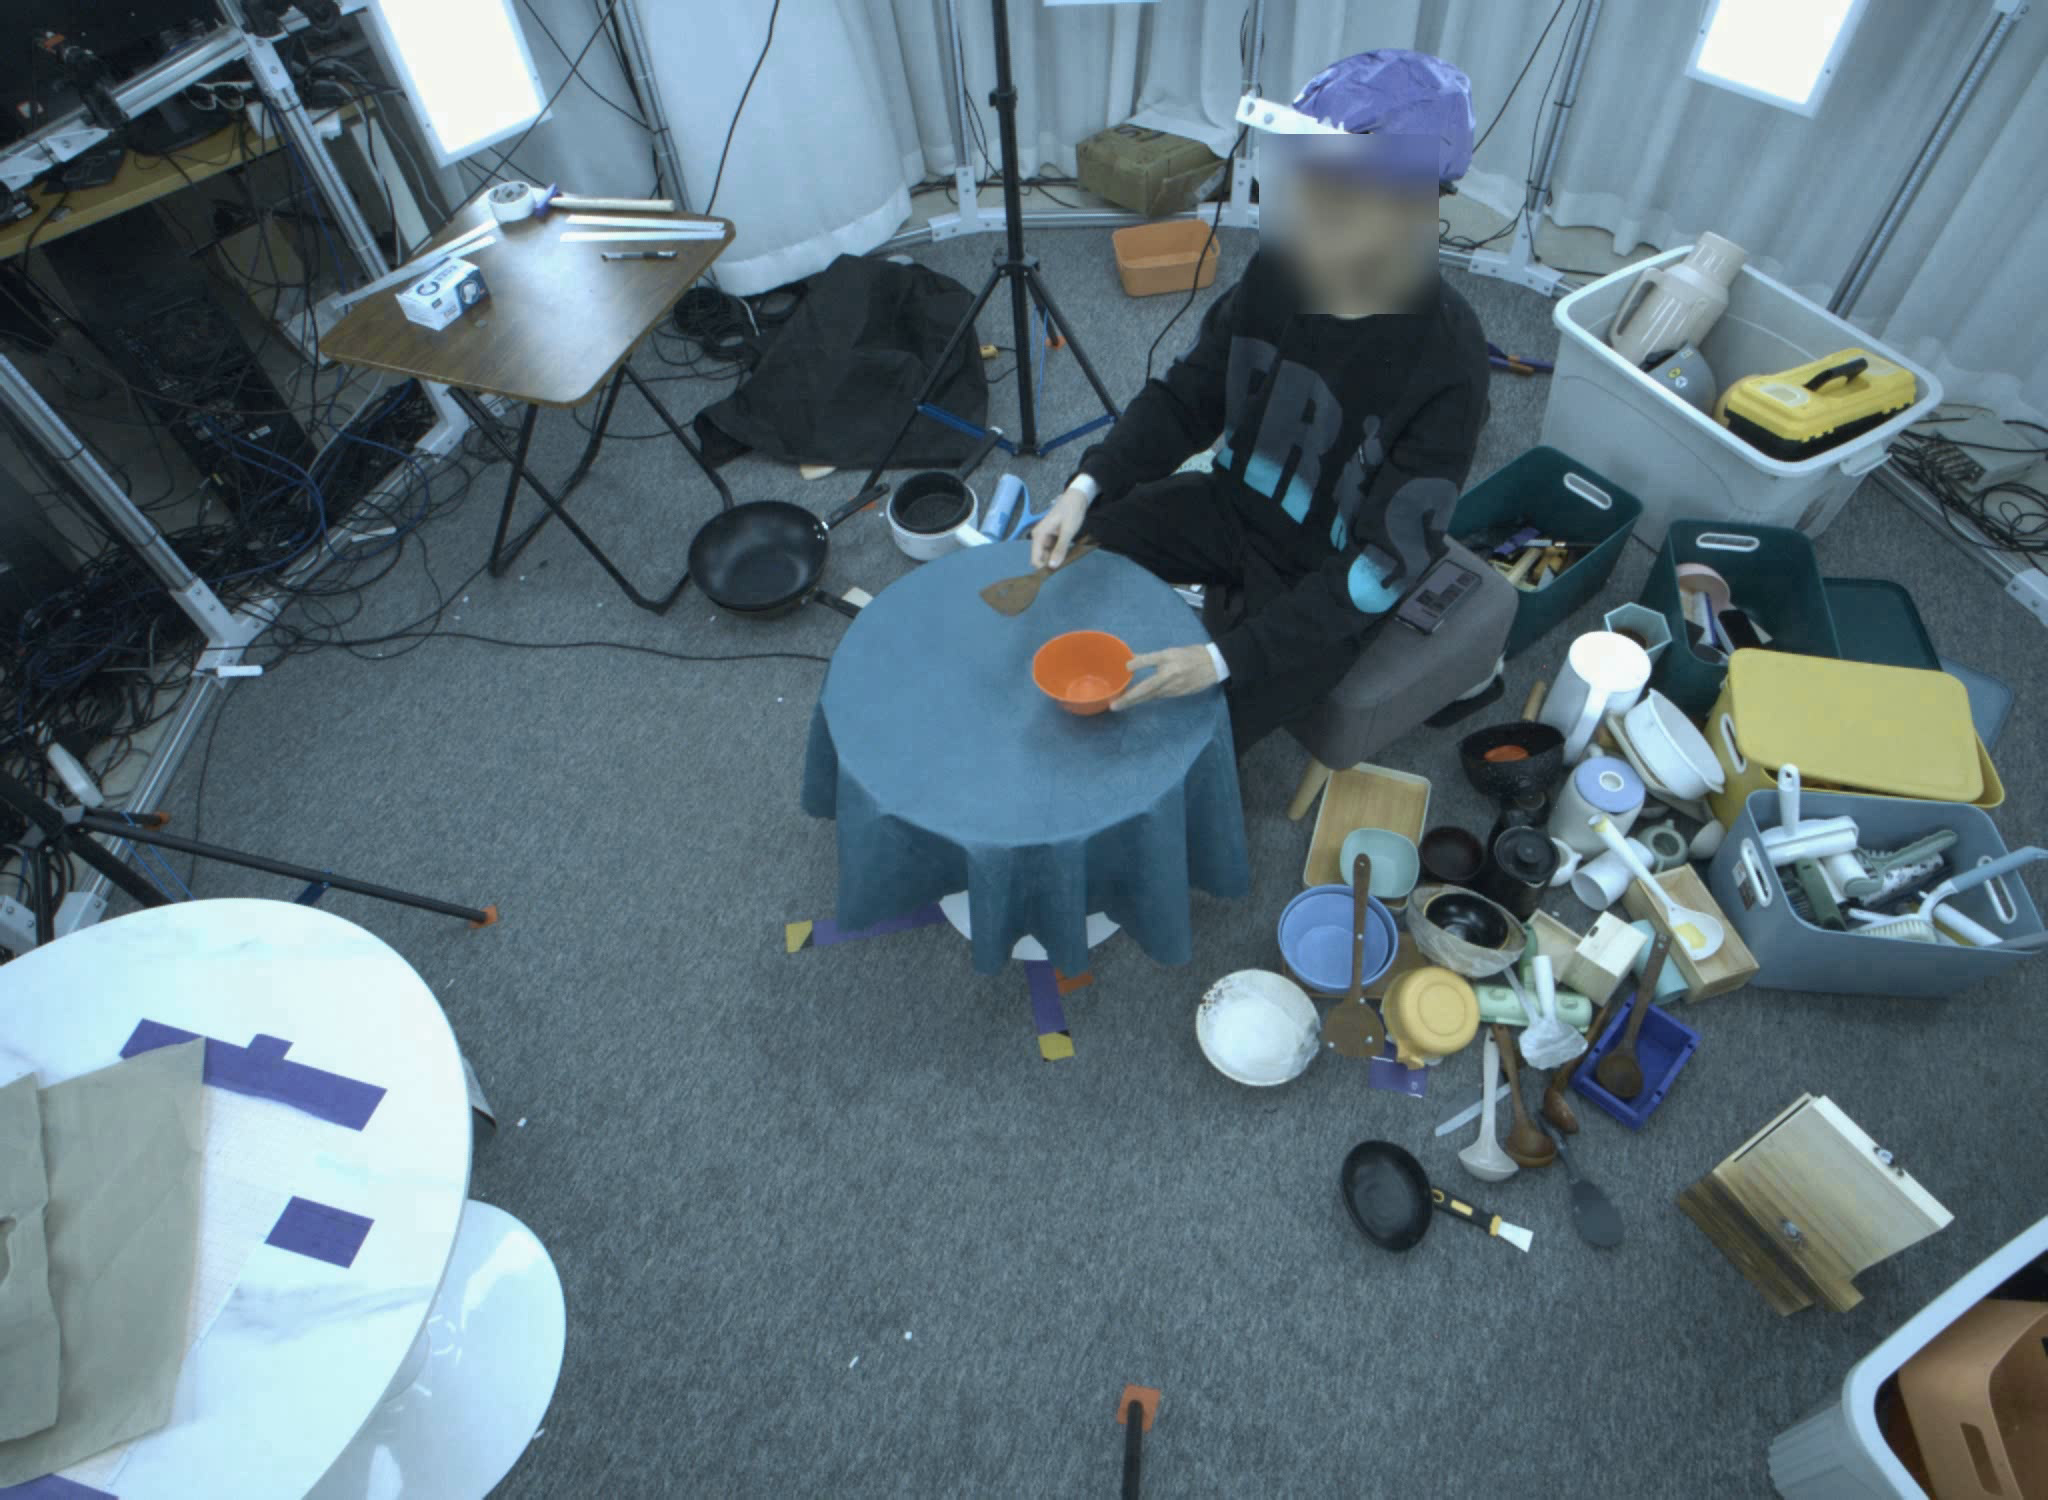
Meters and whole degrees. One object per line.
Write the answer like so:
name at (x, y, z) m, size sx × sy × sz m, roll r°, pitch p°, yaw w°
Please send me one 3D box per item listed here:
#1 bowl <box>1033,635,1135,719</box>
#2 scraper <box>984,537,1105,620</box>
bowl at (0.090, -0.093, 1.797) m, size 0.148 × 0.106 × 0.146 m, roll -2°, pitch 55°, yaw 4°
scraper at (0.037, -0.262, 1.836) m, size 0.213 × 0.011 × 0.074 m, roll -37°, pitch 62°, yaw -22°
